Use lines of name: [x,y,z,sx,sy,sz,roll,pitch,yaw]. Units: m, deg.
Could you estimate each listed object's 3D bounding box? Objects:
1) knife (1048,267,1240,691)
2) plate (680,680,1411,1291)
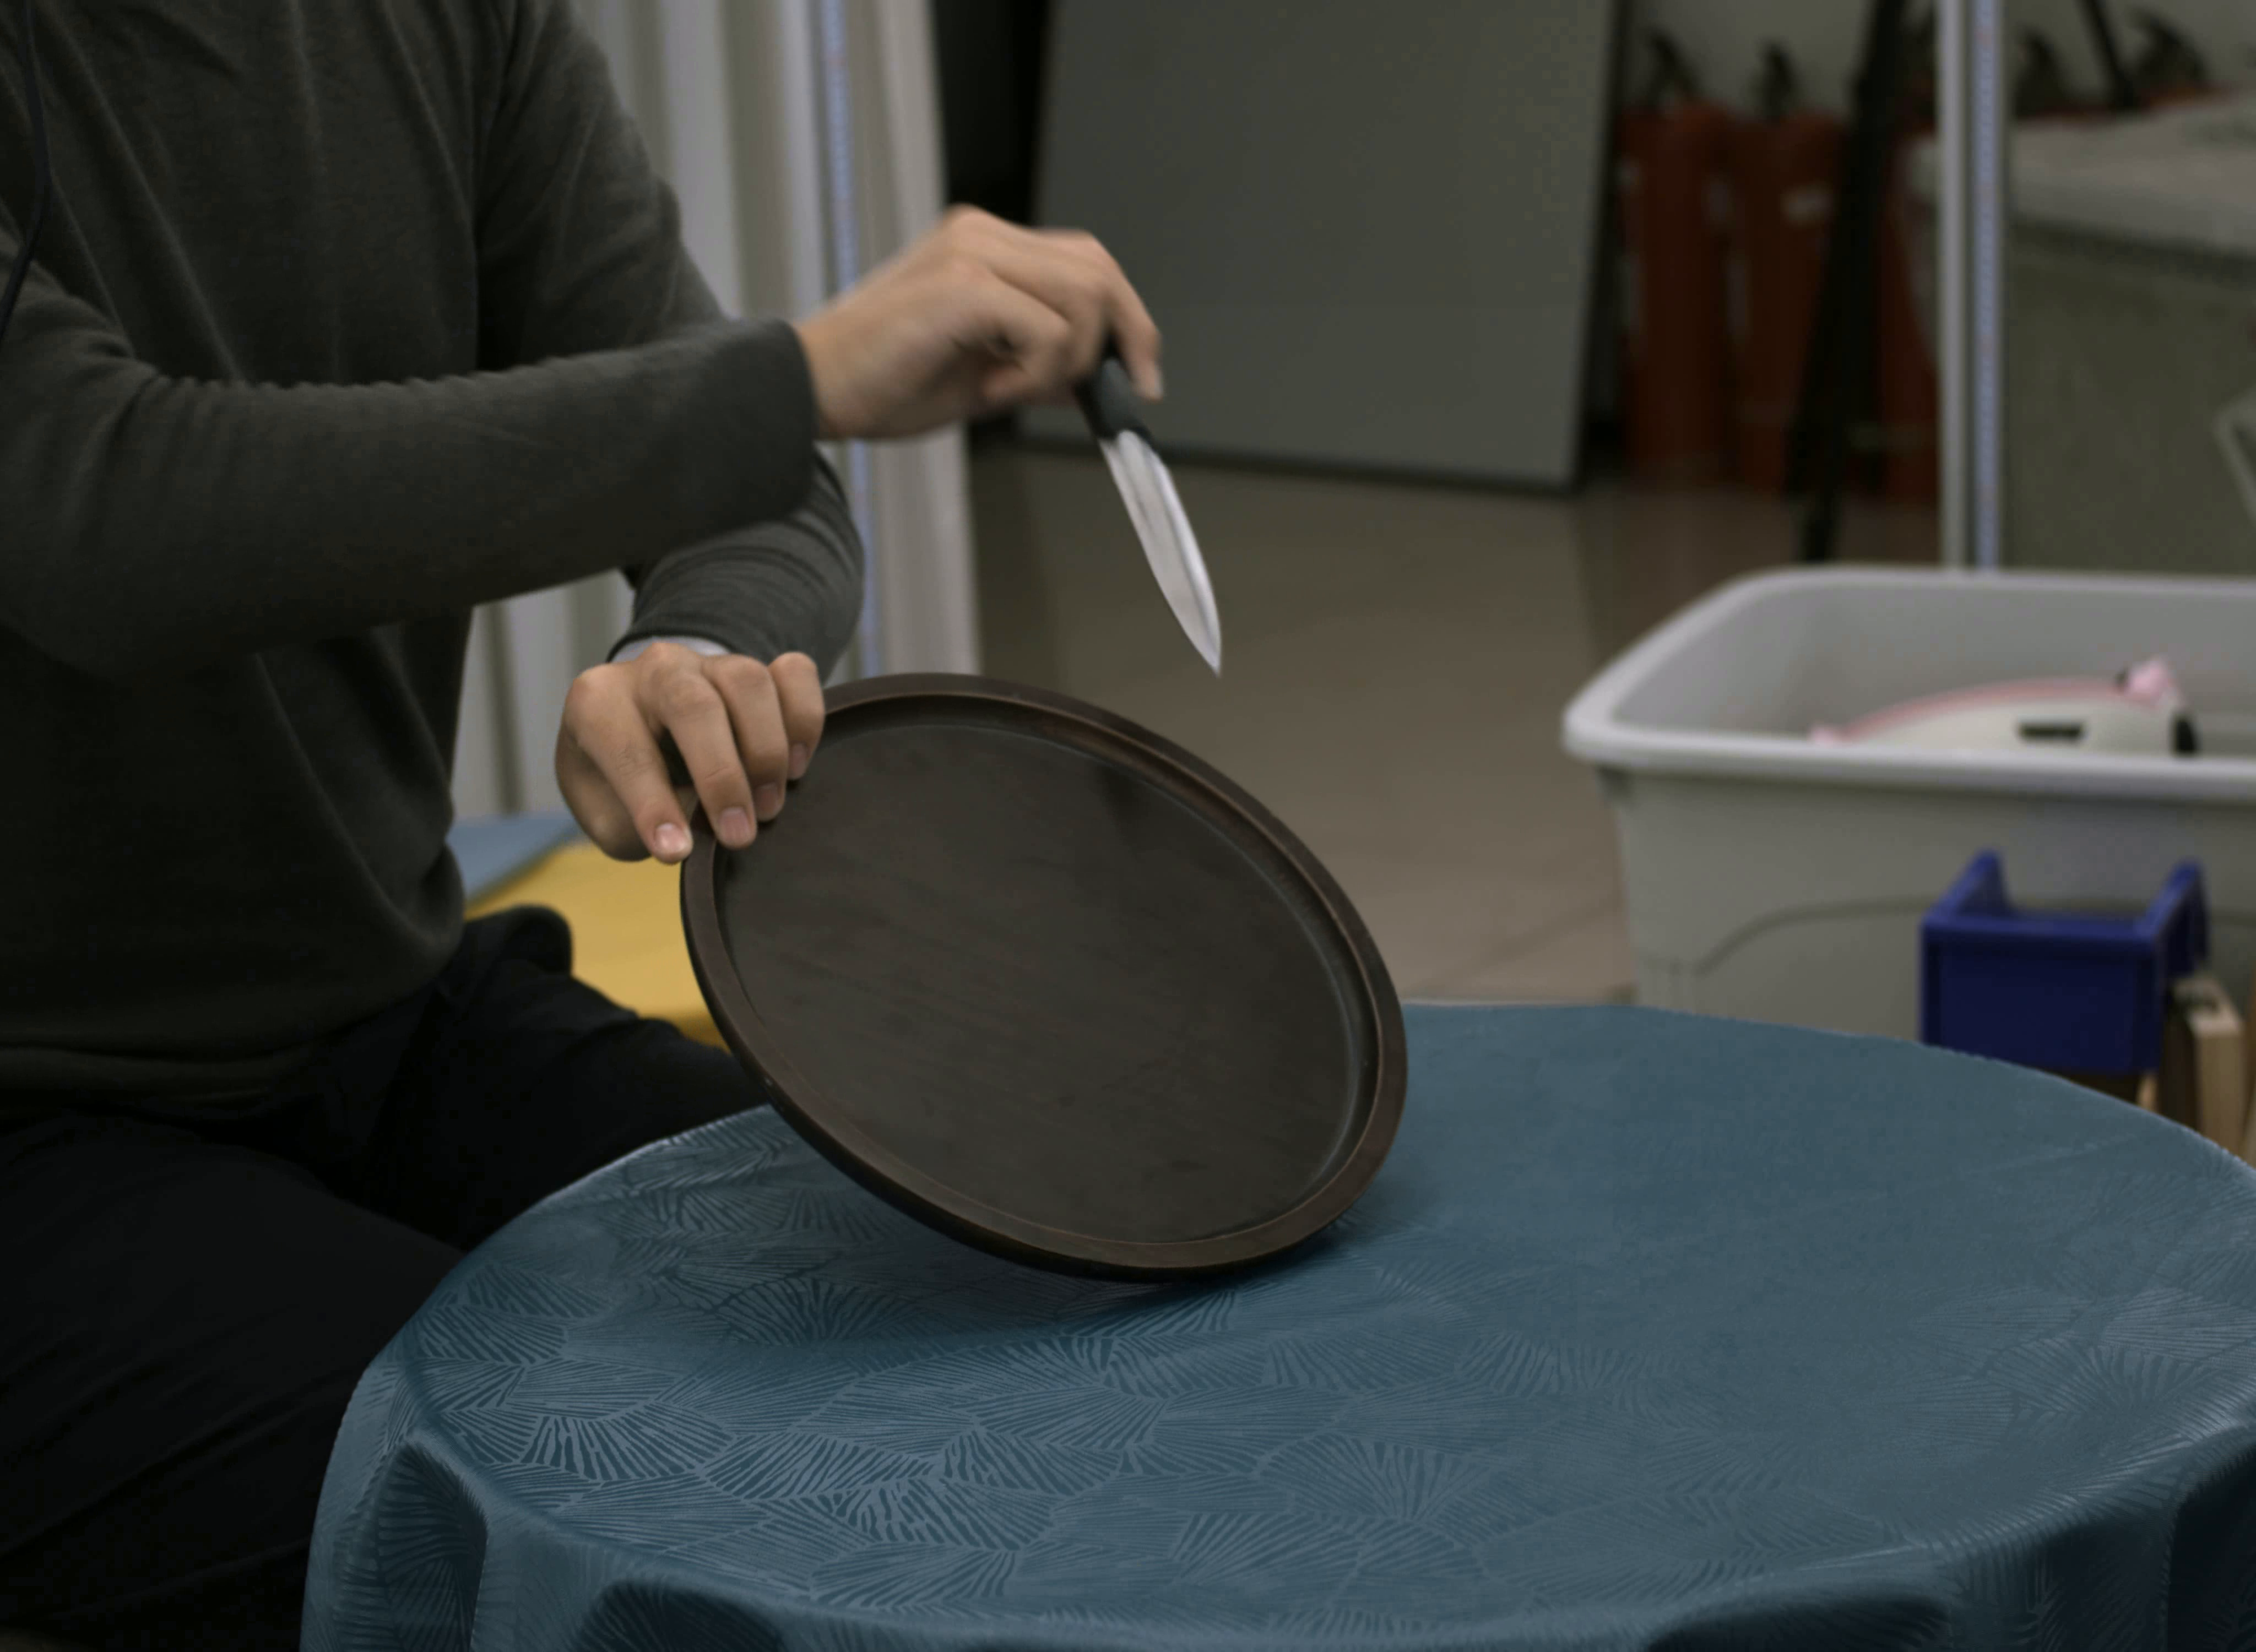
knife: [0.005,-0.123,1.884,0.024,0.016,0.241,4,39,-21]
plate: [-0.027,0.050,1.740,0.250,0.029,0.257,16,41,-15]
